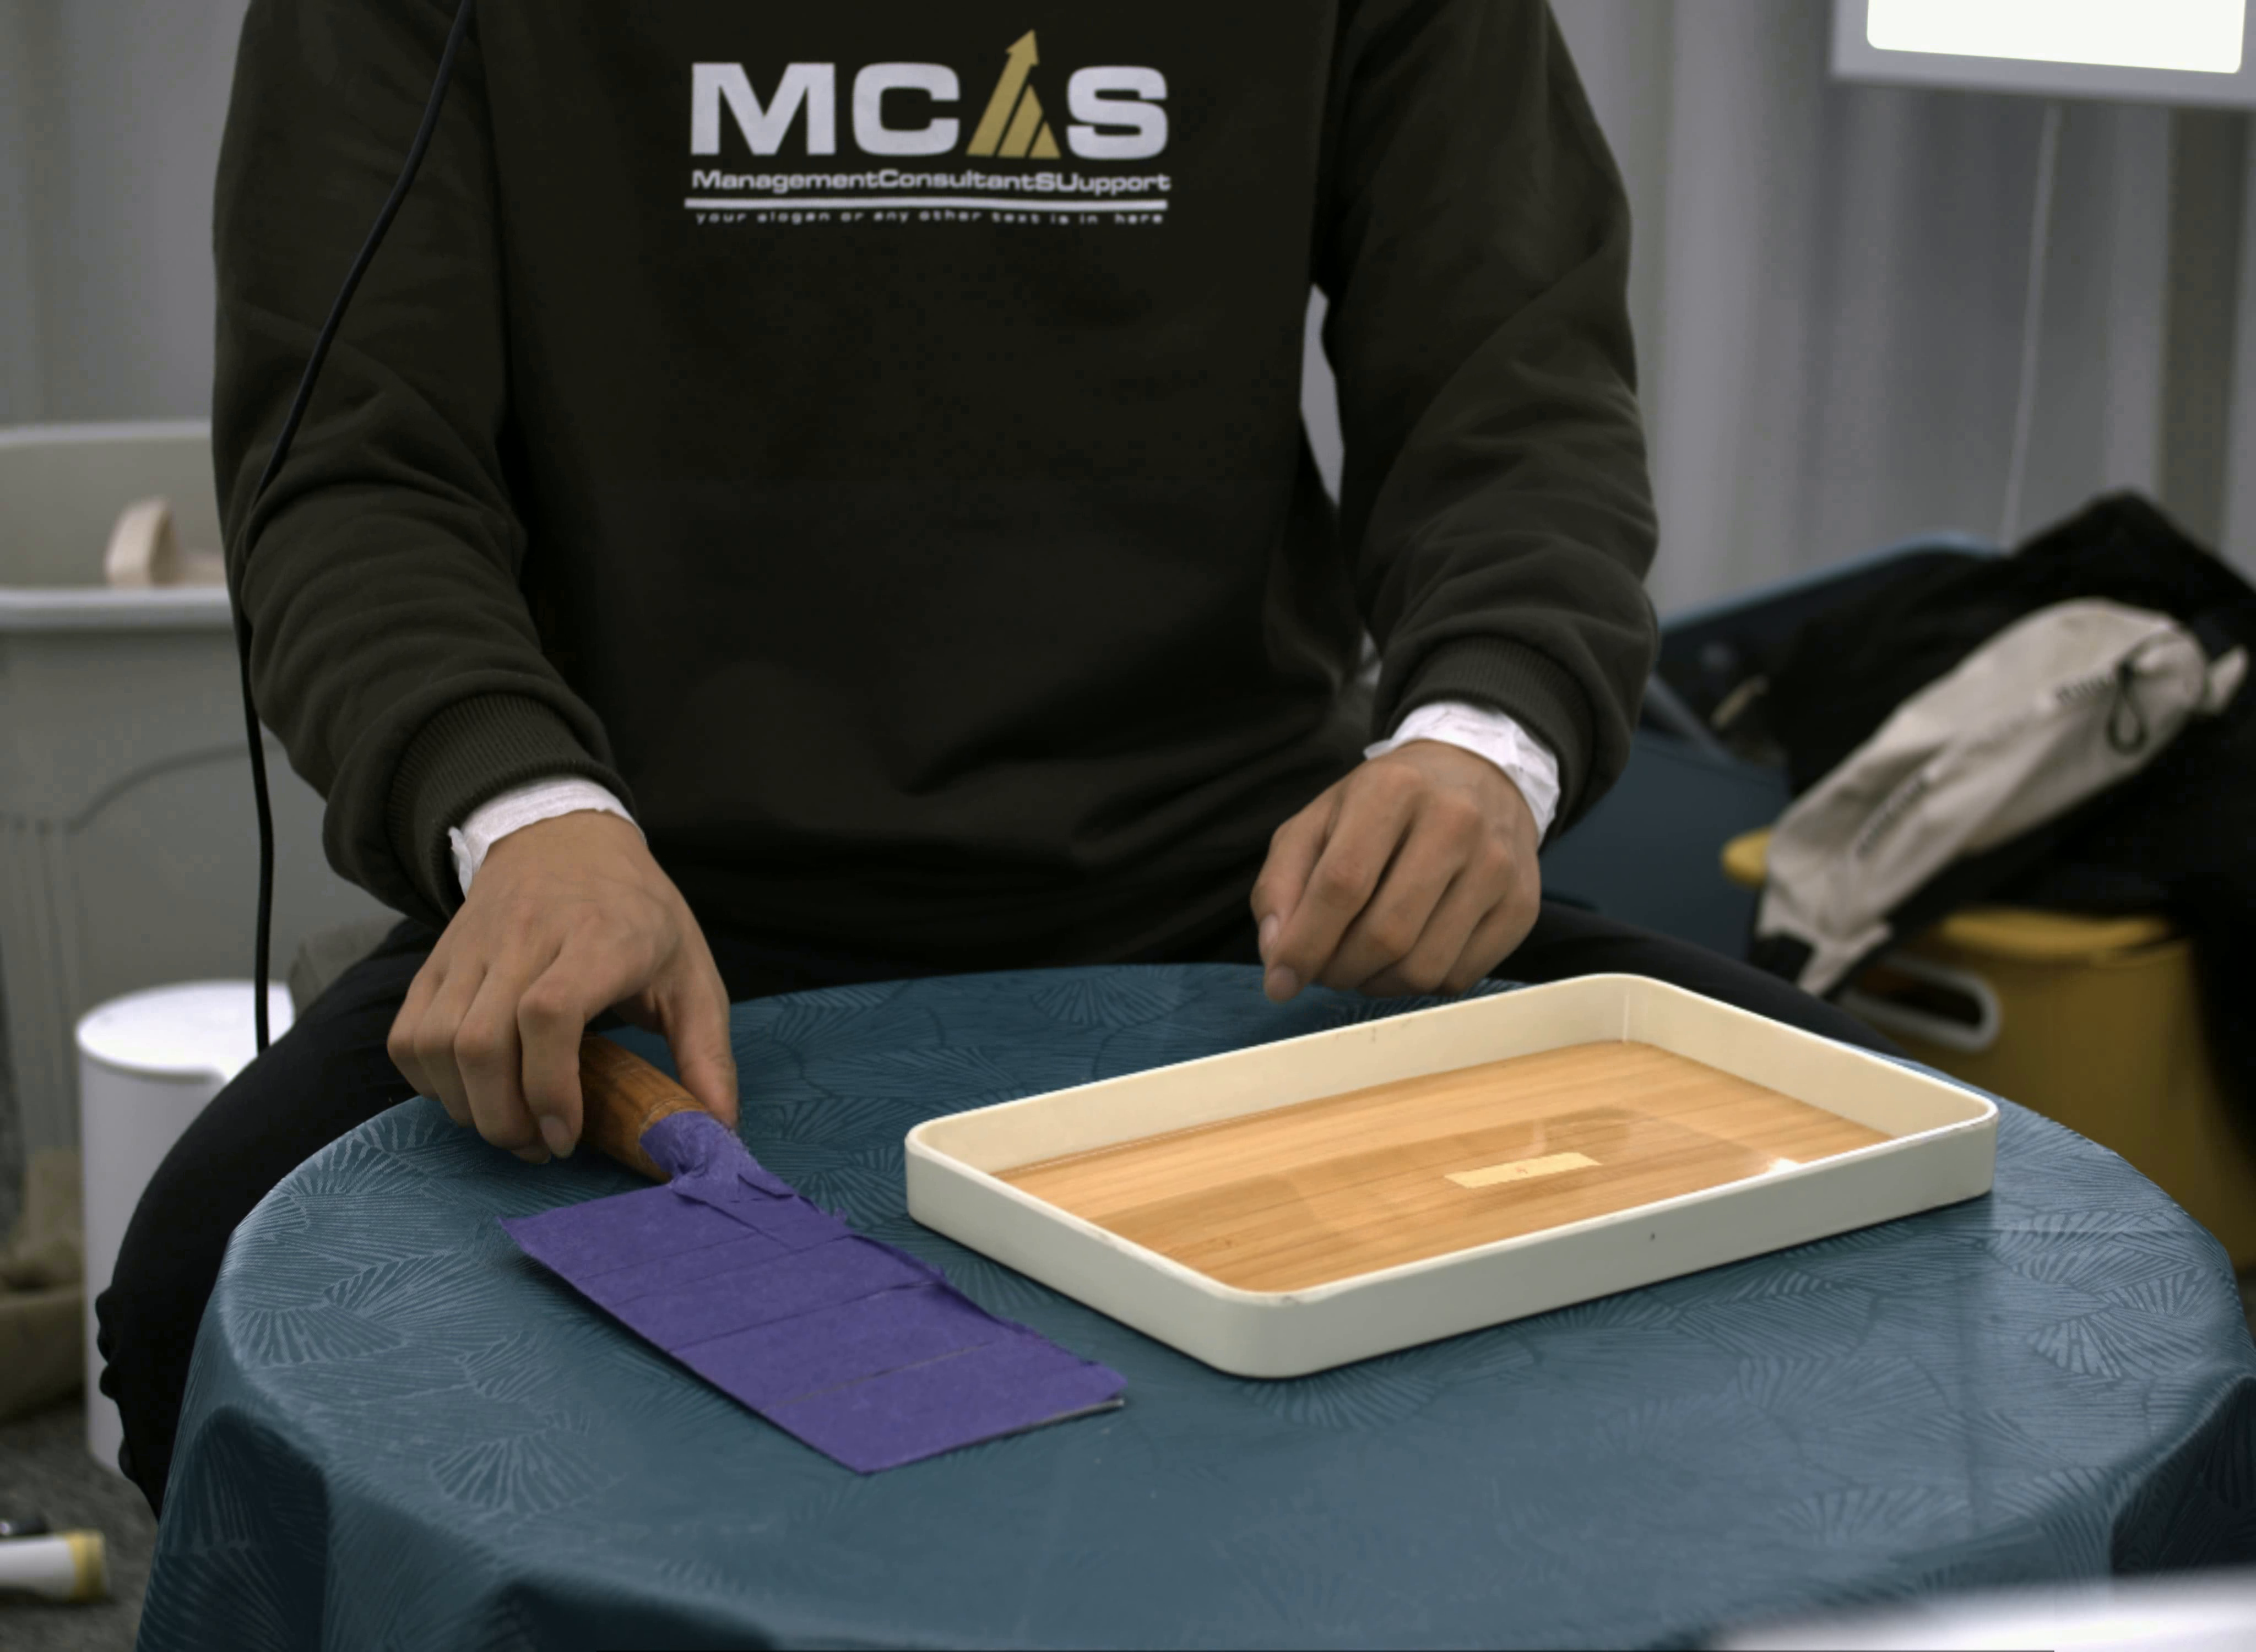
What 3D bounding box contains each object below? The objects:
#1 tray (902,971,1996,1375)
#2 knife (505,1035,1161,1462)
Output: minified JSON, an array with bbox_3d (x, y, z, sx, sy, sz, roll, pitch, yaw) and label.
[{"bbox_3d":[0.100,0.102,1.616,0.302,0.027,0.189,-11,18,-35],"label":"tray"},{"bbox_3d":[-0.120,0.120,1.542,0.104,0.032,0.311,-10,19,-35],"label":"knife"}]
